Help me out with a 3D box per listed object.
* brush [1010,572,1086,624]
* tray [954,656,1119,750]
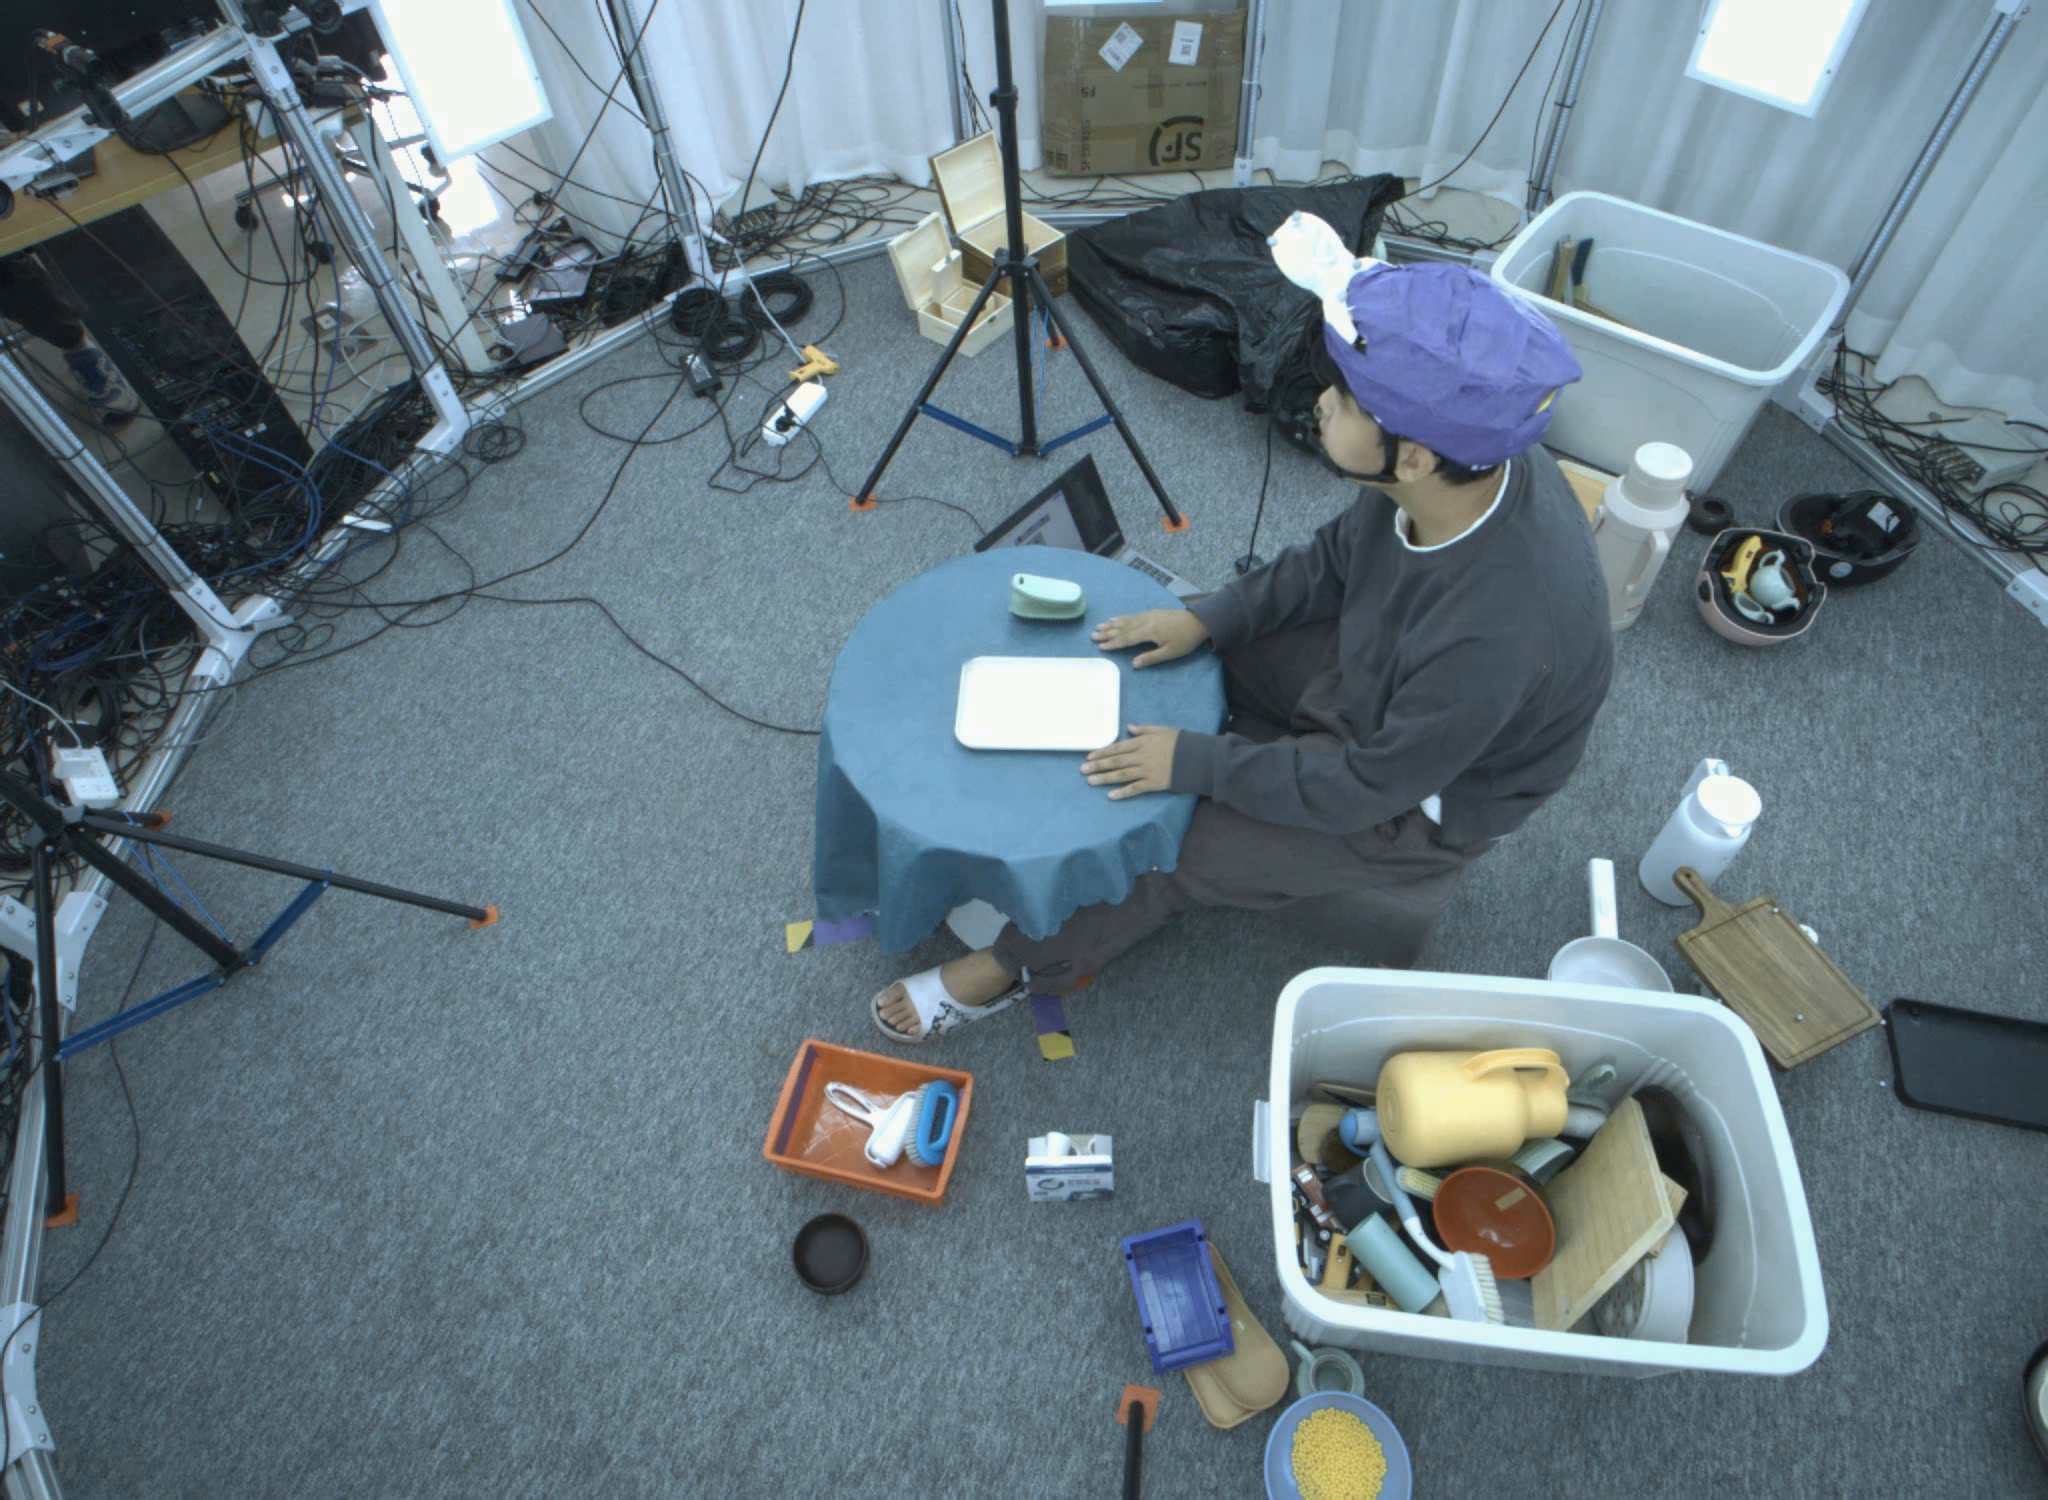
[{"bbox_3d":[0.035,-0.234,1.919,0.124,0.076,0.059,9,56,-8],"label":"brush"},{"bbox_3d":[0.020,-0.070,1.825,0.239,0.017,0.169,2,55,2],"label":"tray"}]
